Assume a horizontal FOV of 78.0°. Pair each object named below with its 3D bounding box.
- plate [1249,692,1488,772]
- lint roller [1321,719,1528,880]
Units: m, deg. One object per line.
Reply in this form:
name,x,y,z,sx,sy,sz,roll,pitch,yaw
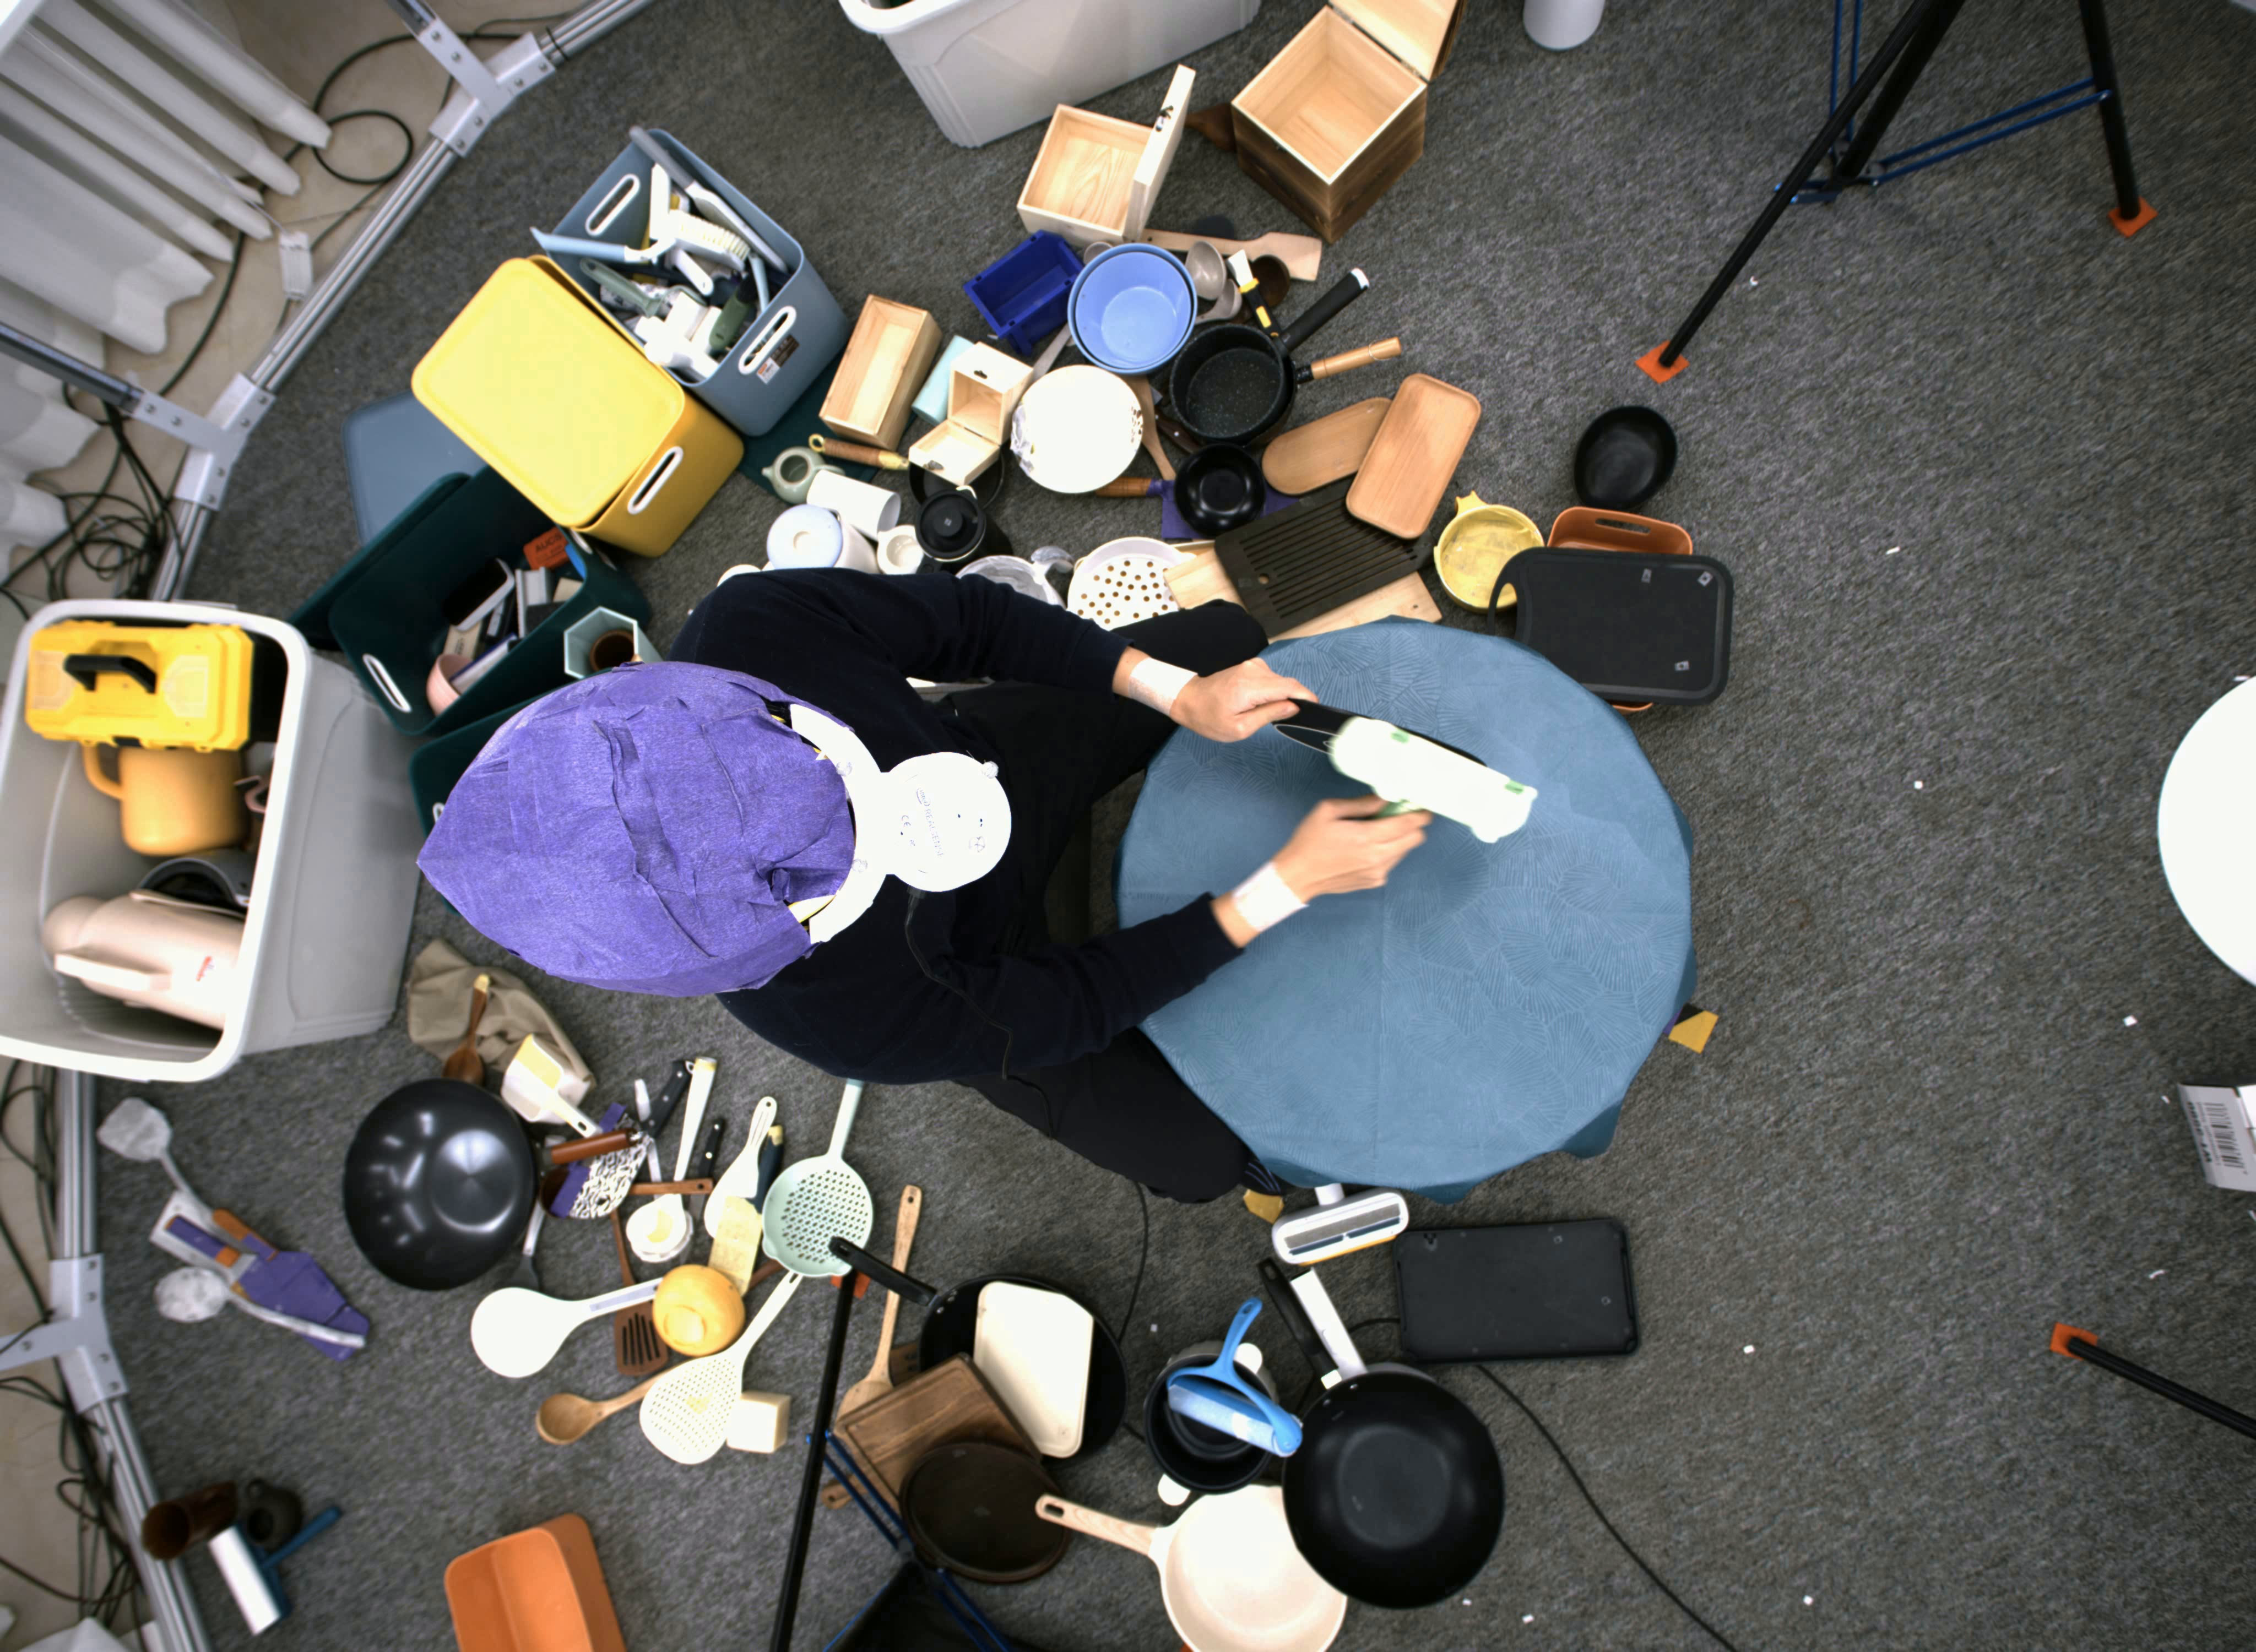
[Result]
plate,0.232,-0.082,1.352,0.244,0.244,0.023,18,89,11
lint roller,0.244,0.000,1.275,0.199,0.080,0.187,19,124,-22
